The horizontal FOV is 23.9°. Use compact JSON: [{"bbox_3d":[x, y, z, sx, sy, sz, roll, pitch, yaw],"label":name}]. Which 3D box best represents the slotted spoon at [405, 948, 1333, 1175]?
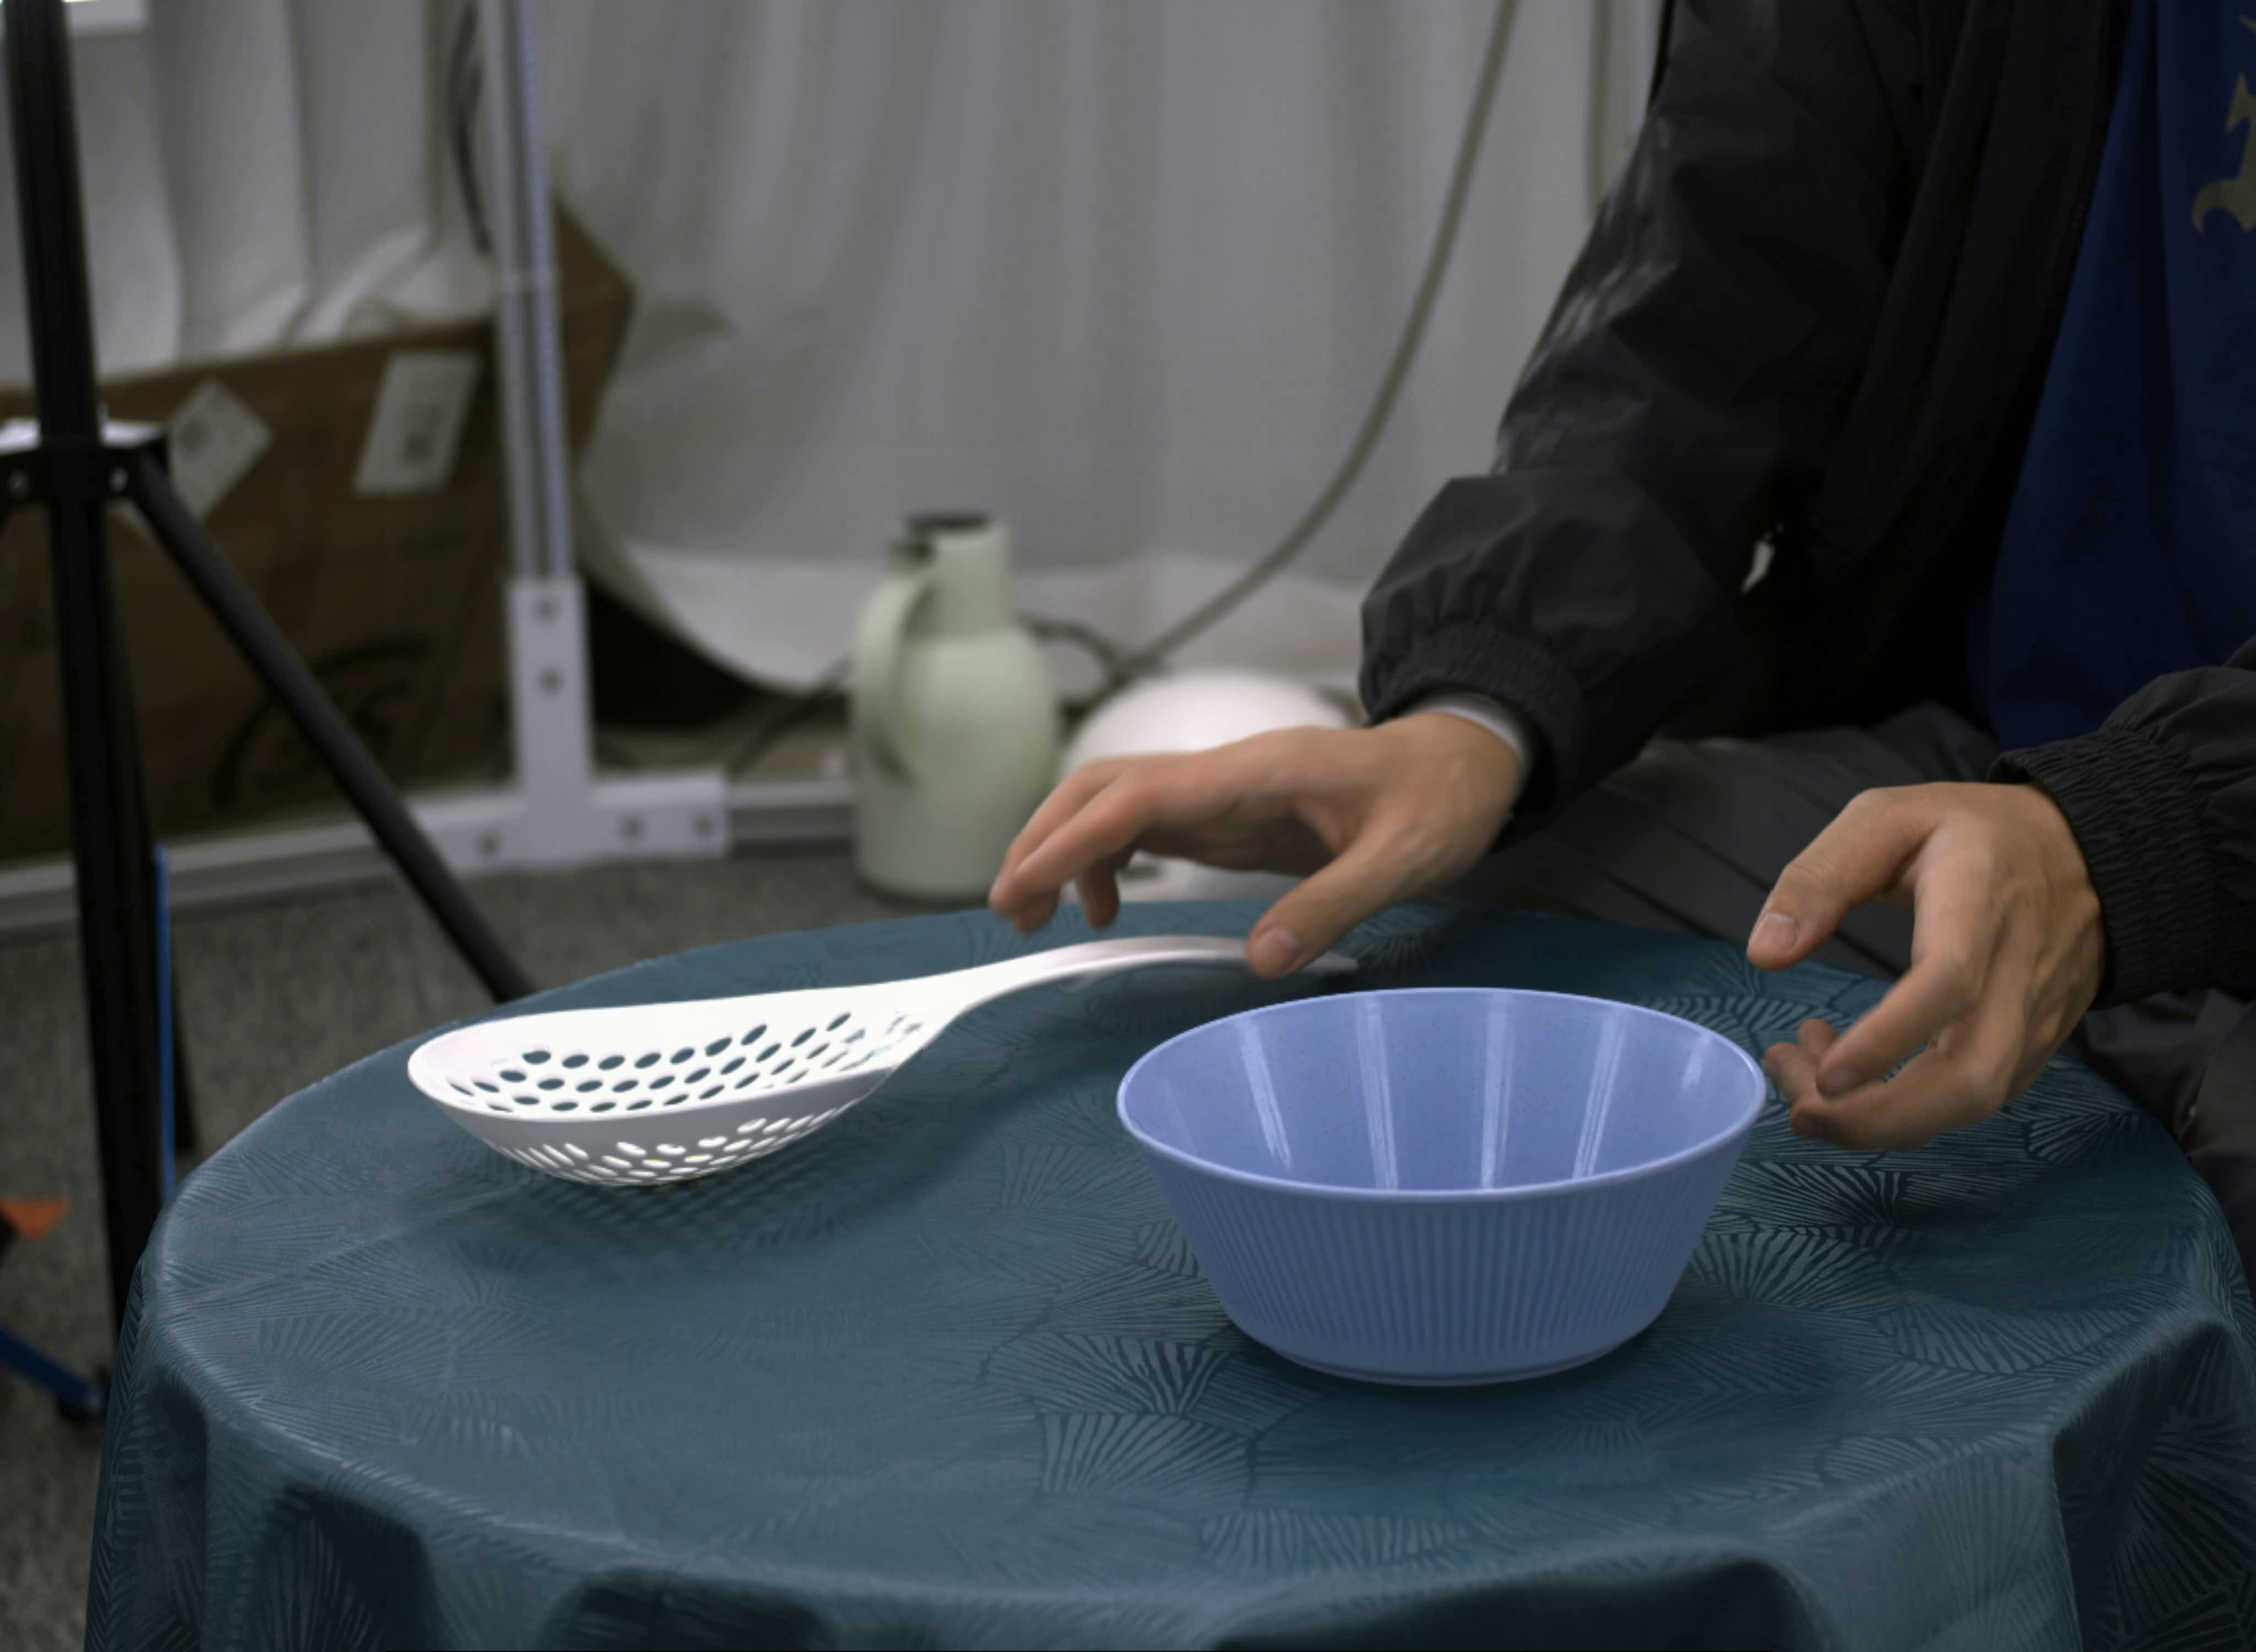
[{"bbox_3d":[-0.062,0.062,1.652,0.340,0.050,0.140,-14,13,-37],"label":"slotted spoon"}]

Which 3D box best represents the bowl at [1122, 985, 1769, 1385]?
[{"bbox_3d":[0.086,0.101,1.442,0.175,0.070,0.177,-2,16,-1],"label":"bowl"}]
